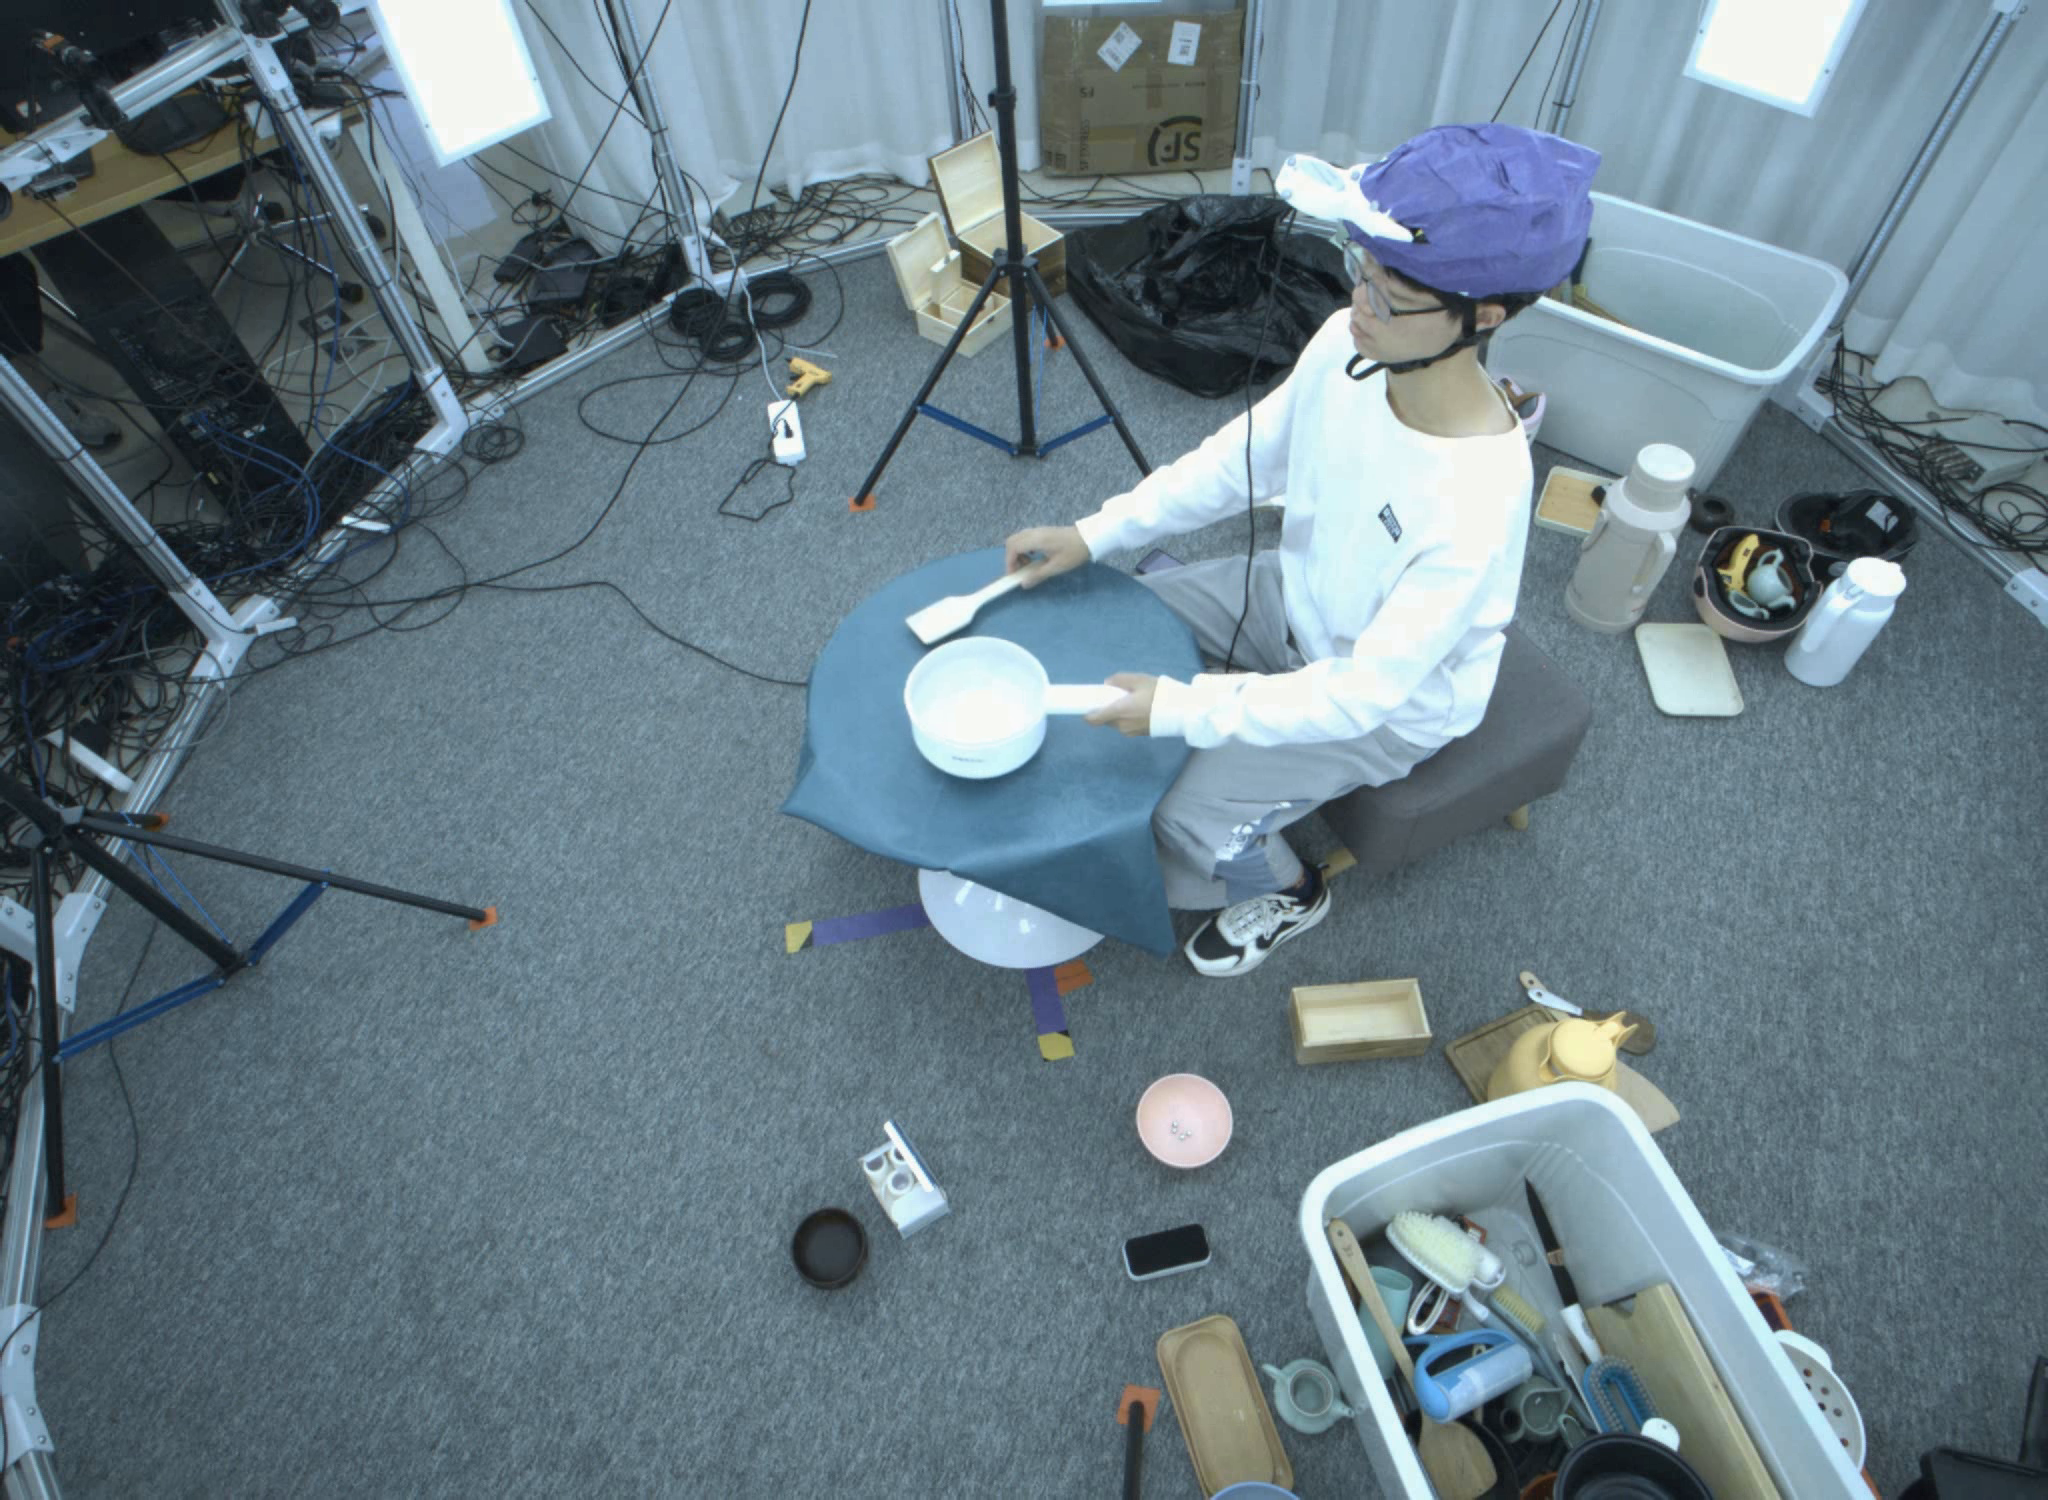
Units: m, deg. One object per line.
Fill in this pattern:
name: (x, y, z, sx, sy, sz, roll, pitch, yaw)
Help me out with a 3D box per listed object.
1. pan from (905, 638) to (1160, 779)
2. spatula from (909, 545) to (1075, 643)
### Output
pan: (0.013, -0.053, 1.742, 0.355, 0.103, 0.199, 1, 52, -1)
spatula: (-0.045, -0.254, 1.939, 0.295, 0.011, 0.071, -31, 54, -16)
